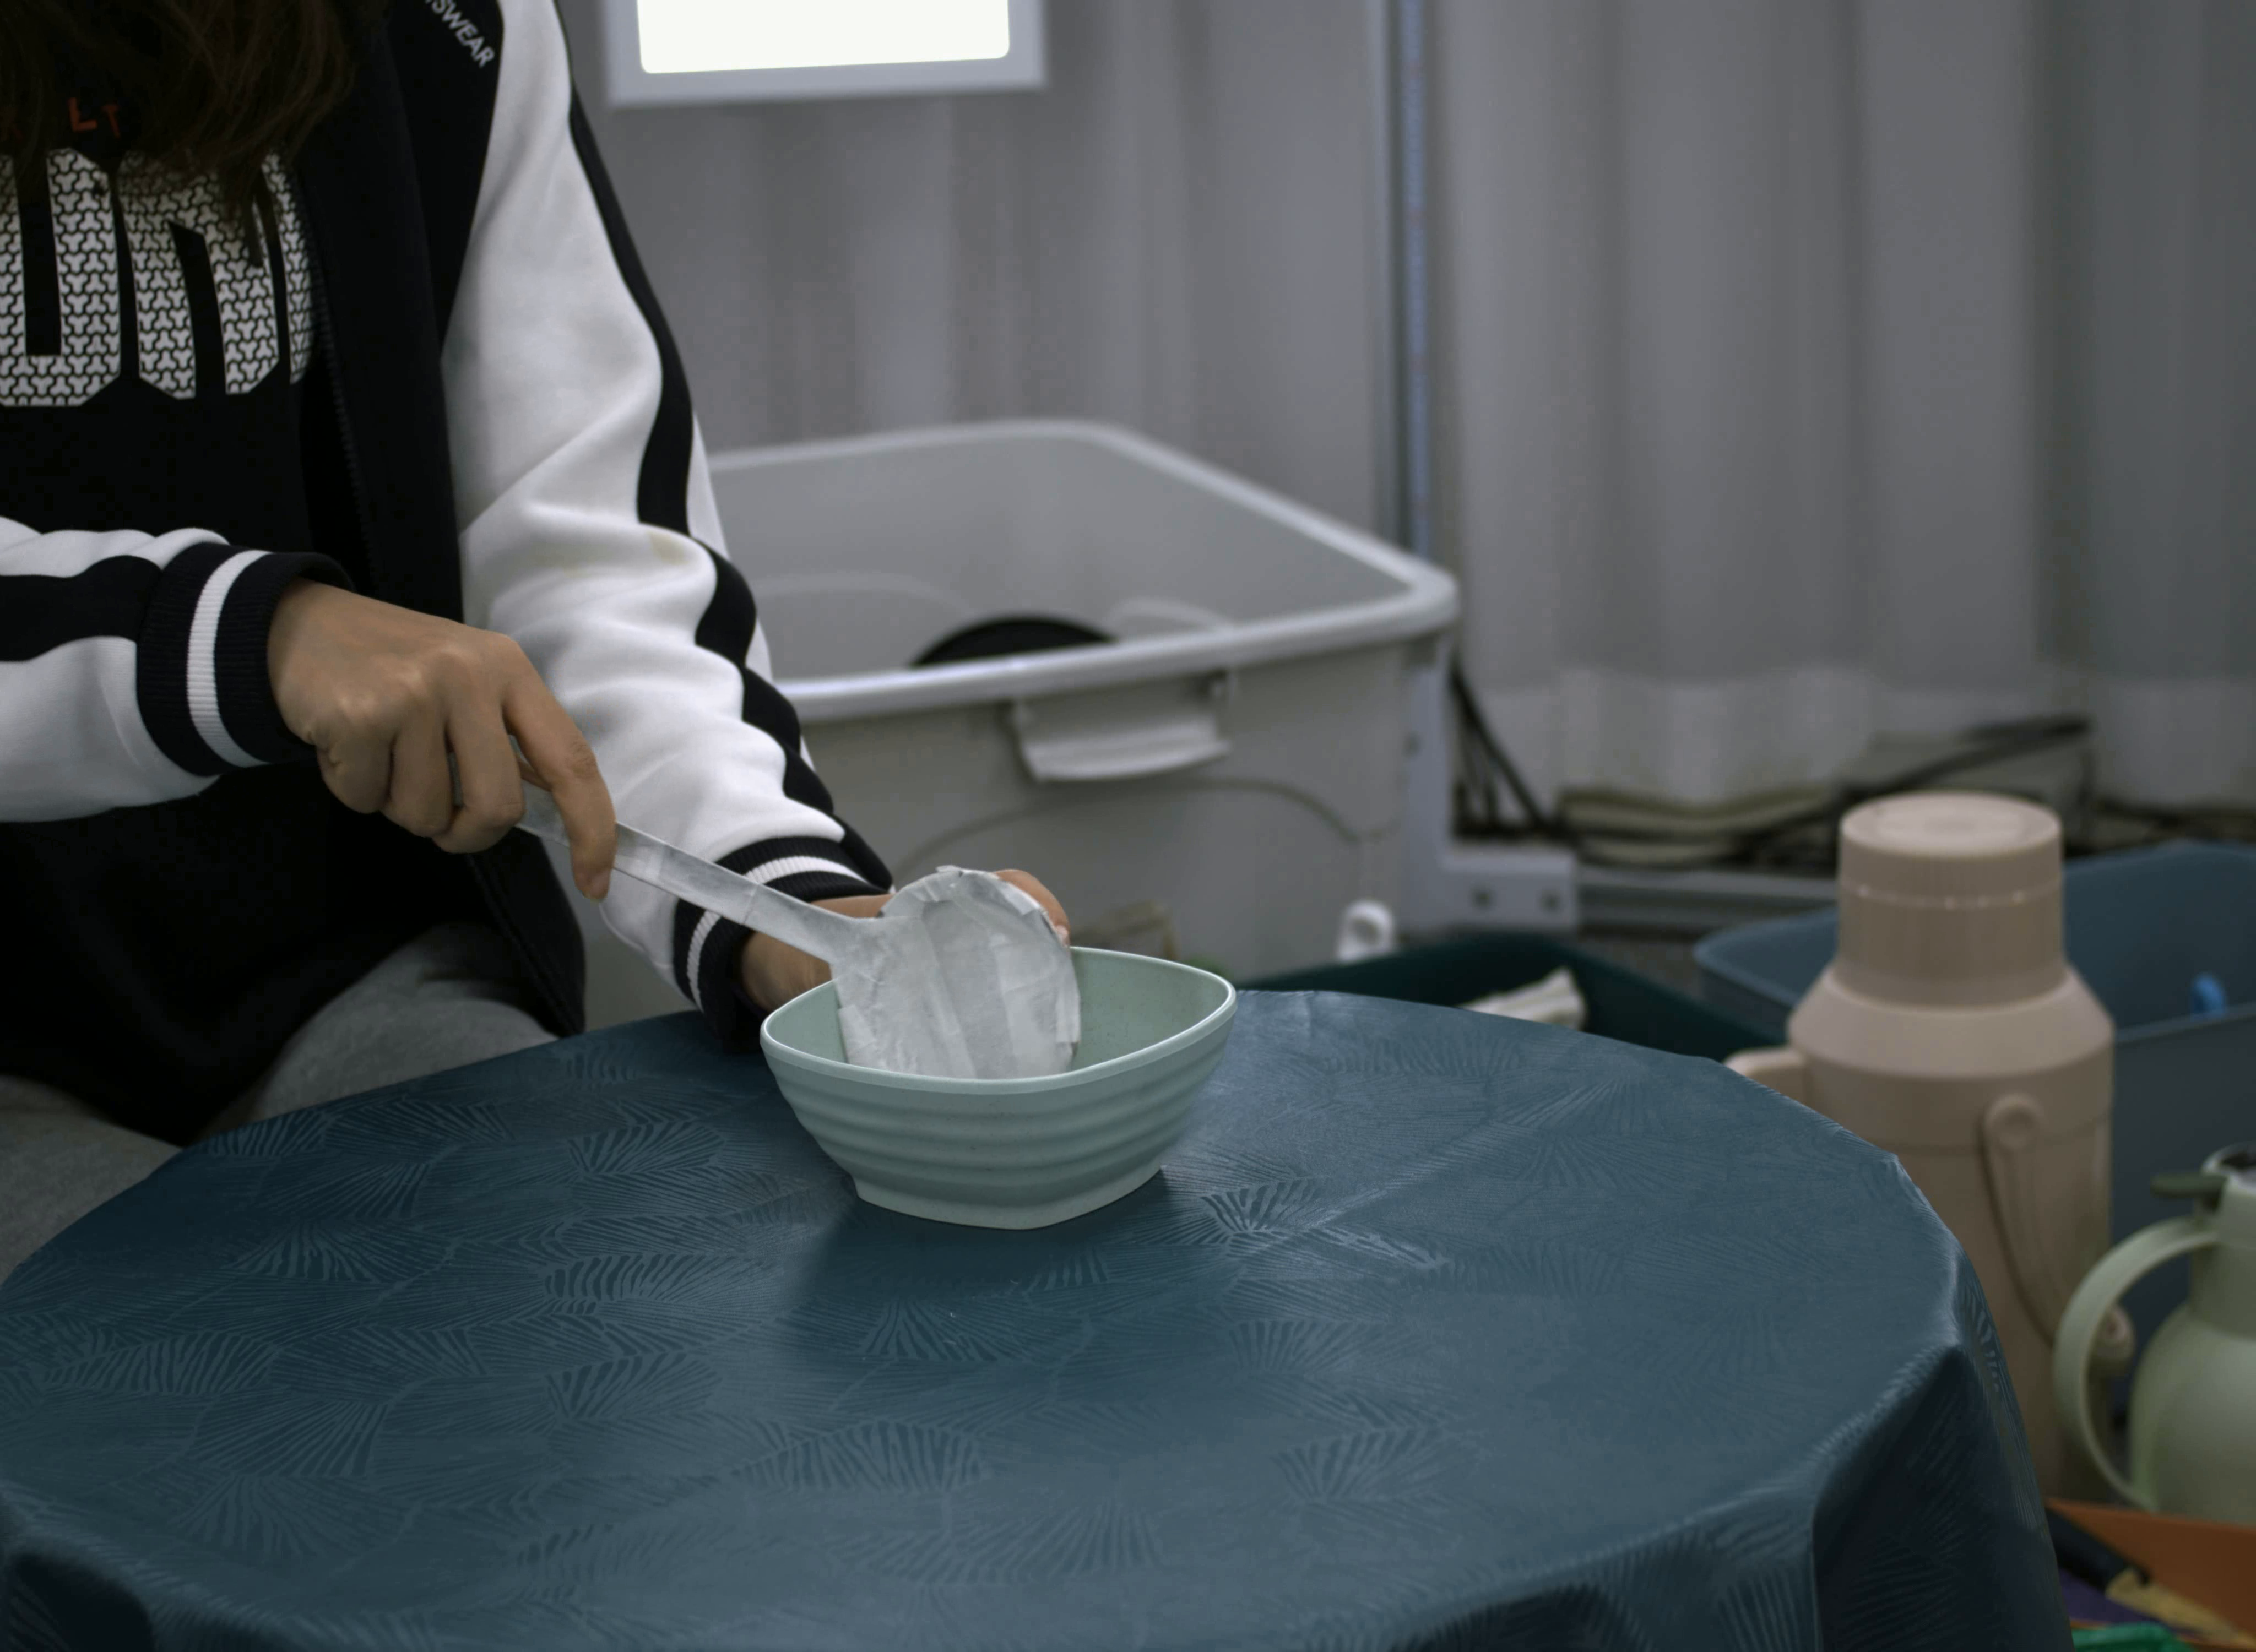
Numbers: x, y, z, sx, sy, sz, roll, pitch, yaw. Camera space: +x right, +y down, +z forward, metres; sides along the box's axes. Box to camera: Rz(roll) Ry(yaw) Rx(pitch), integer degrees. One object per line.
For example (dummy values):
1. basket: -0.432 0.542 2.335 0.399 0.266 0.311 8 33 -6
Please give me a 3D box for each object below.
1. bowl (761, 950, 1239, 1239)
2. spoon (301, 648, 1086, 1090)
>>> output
1. bowl: -0.039 0.087 1.724 0.151 0.058 0.152 -3 15 1
2. spoon: -0.139 0.011 1.728 0.277 0.100 0.059 27 7 -2
